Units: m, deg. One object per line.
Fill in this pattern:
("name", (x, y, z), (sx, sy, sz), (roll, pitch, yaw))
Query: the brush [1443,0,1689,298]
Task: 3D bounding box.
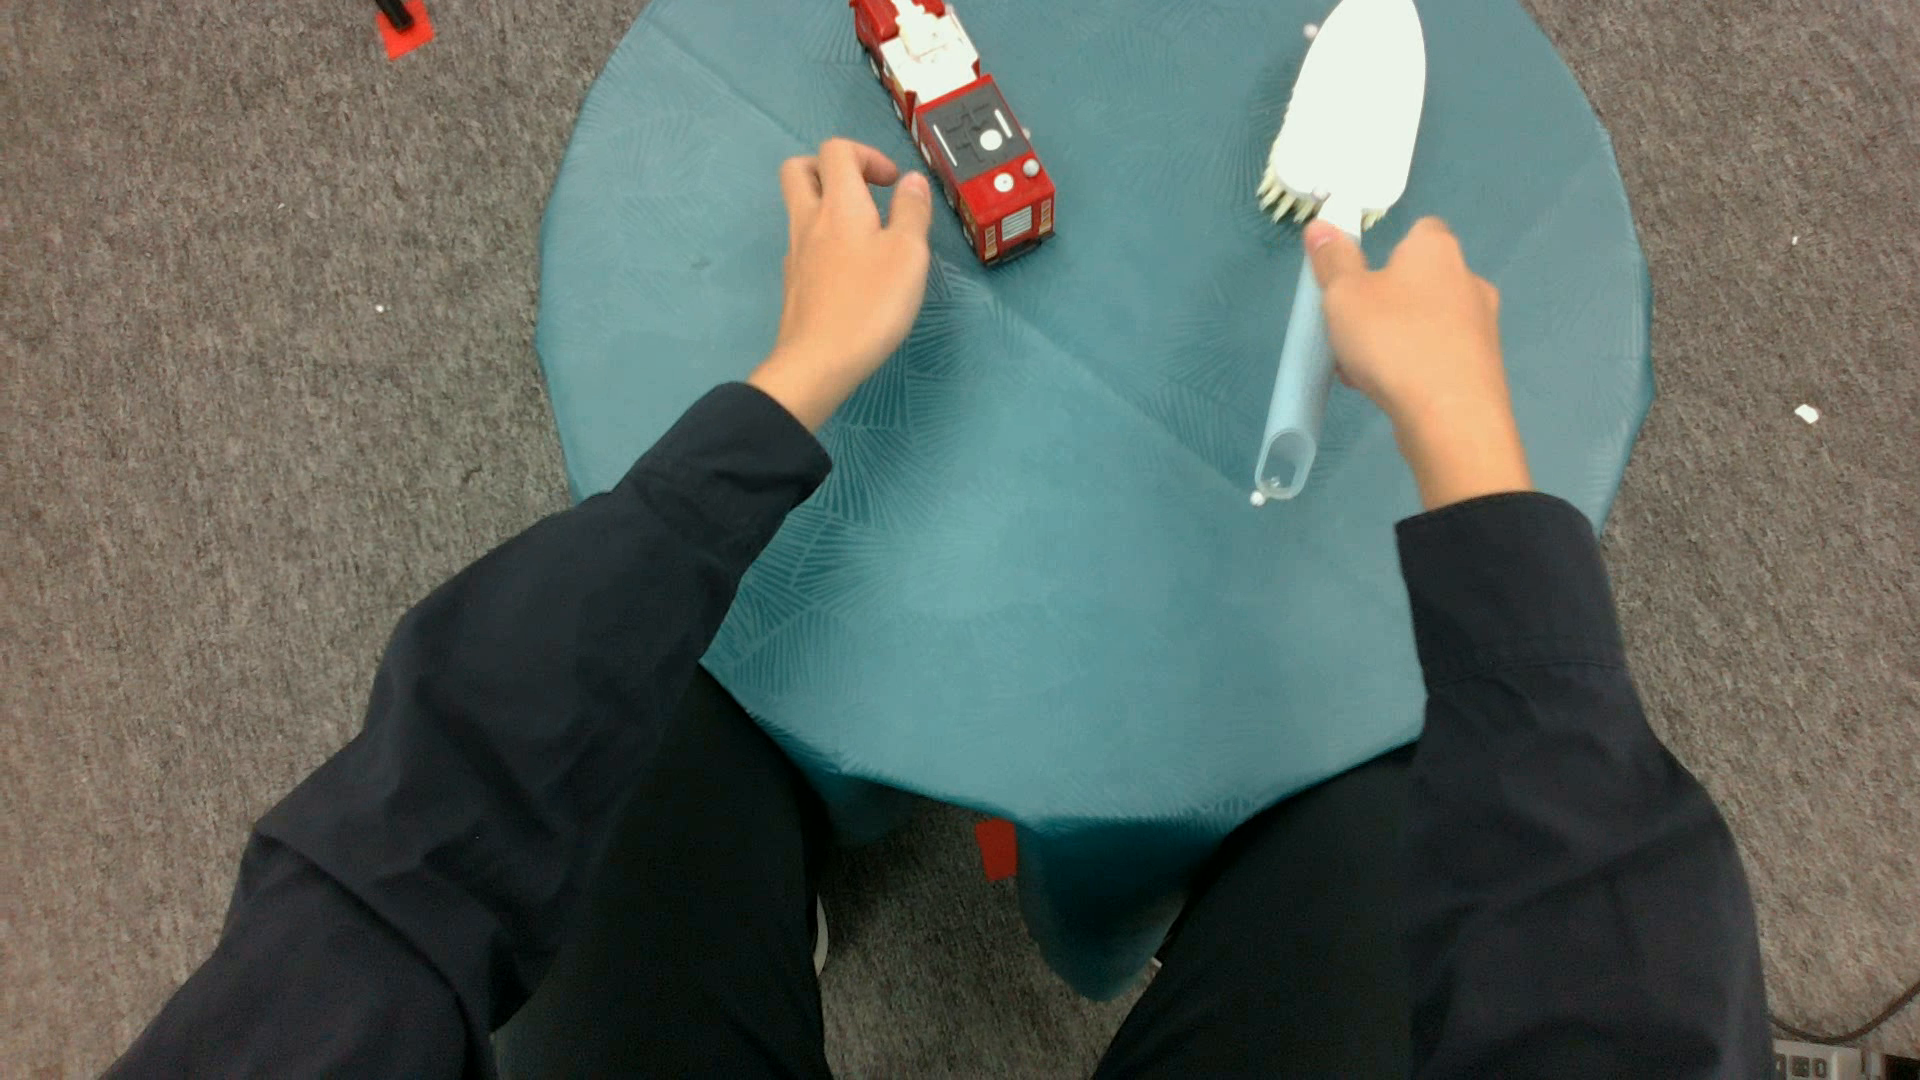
("brush", (0.290, -0.237, 0.641), (0.083, 0.084, 0.326), (23, 76, 39))
